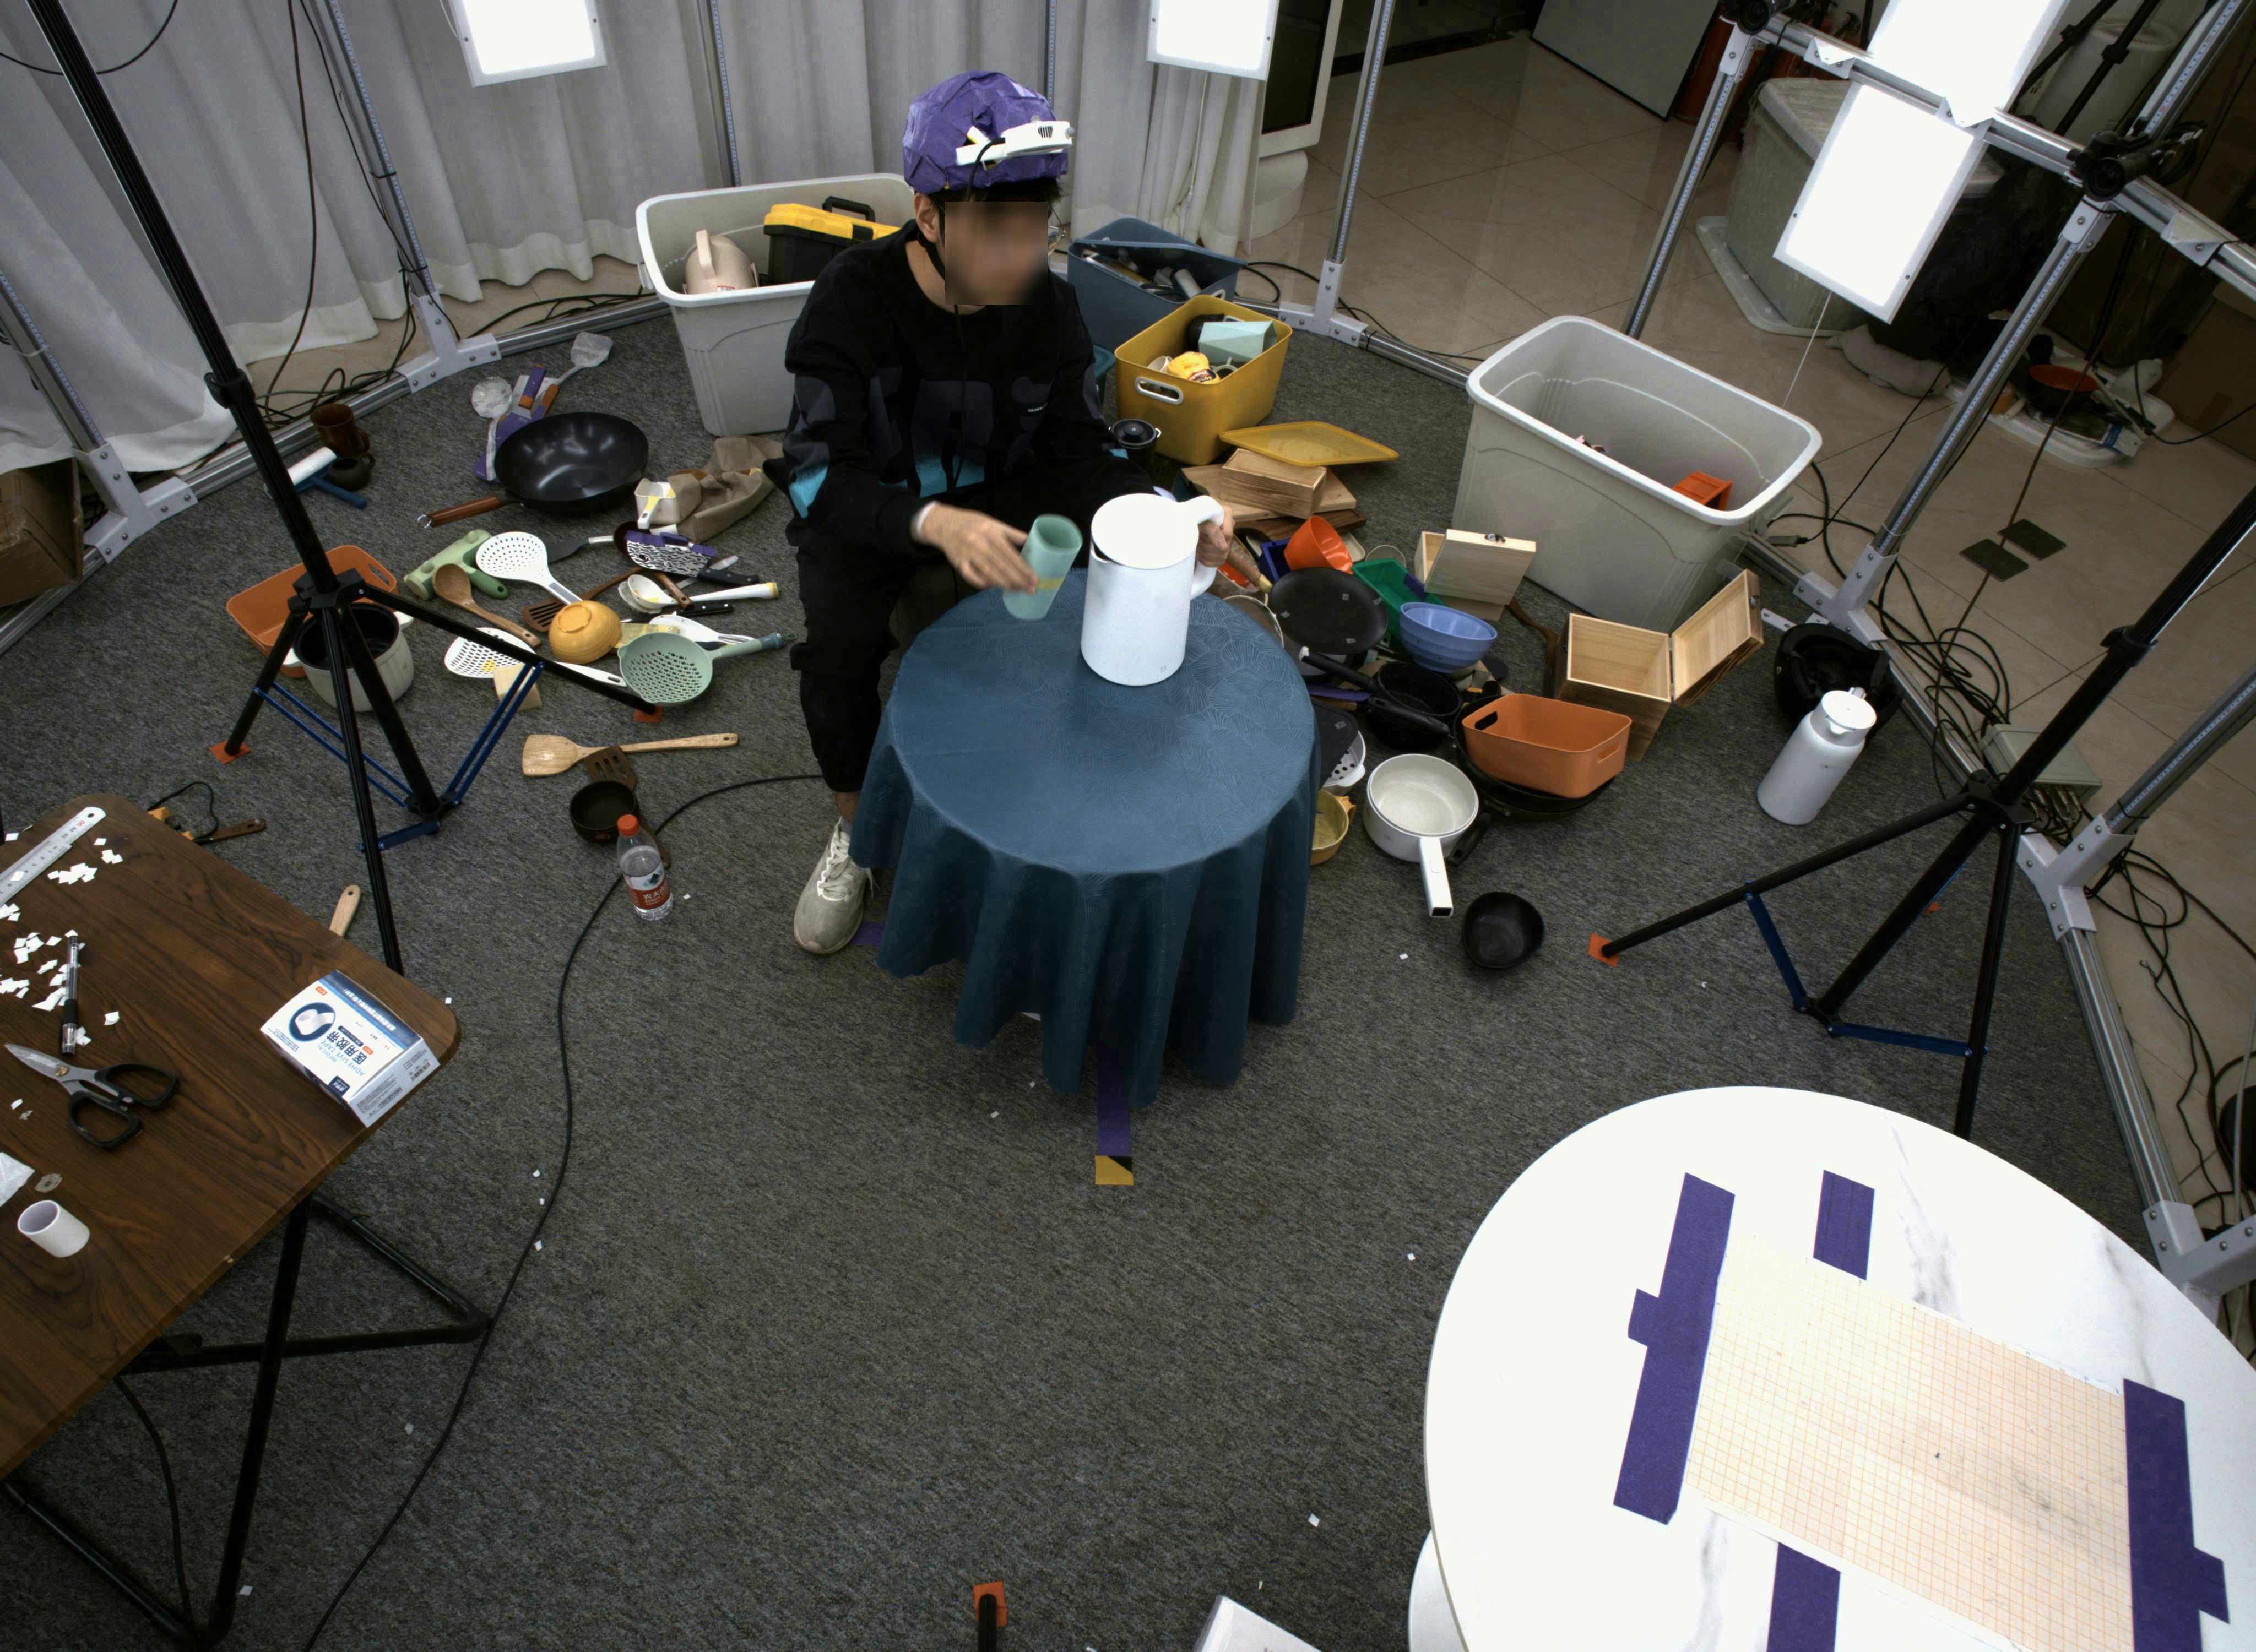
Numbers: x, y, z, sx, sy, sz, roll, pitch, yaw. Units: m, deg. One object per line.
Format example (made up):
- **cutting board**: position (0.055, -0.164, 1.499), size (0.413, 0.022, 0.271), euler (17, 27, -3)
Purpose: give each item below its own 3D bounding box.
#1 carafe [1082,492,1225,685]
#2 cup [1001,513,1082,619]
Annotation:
- **carafe**: position (0.038, -0.340, 1.806), size (0.214, 0.234, 0.155), euler (-29, 62, -22)
- **cup**: position (-0.113, -0.335, 1.661), size (0.066, 0.130, 0.068), euler (15, 49, -18)
